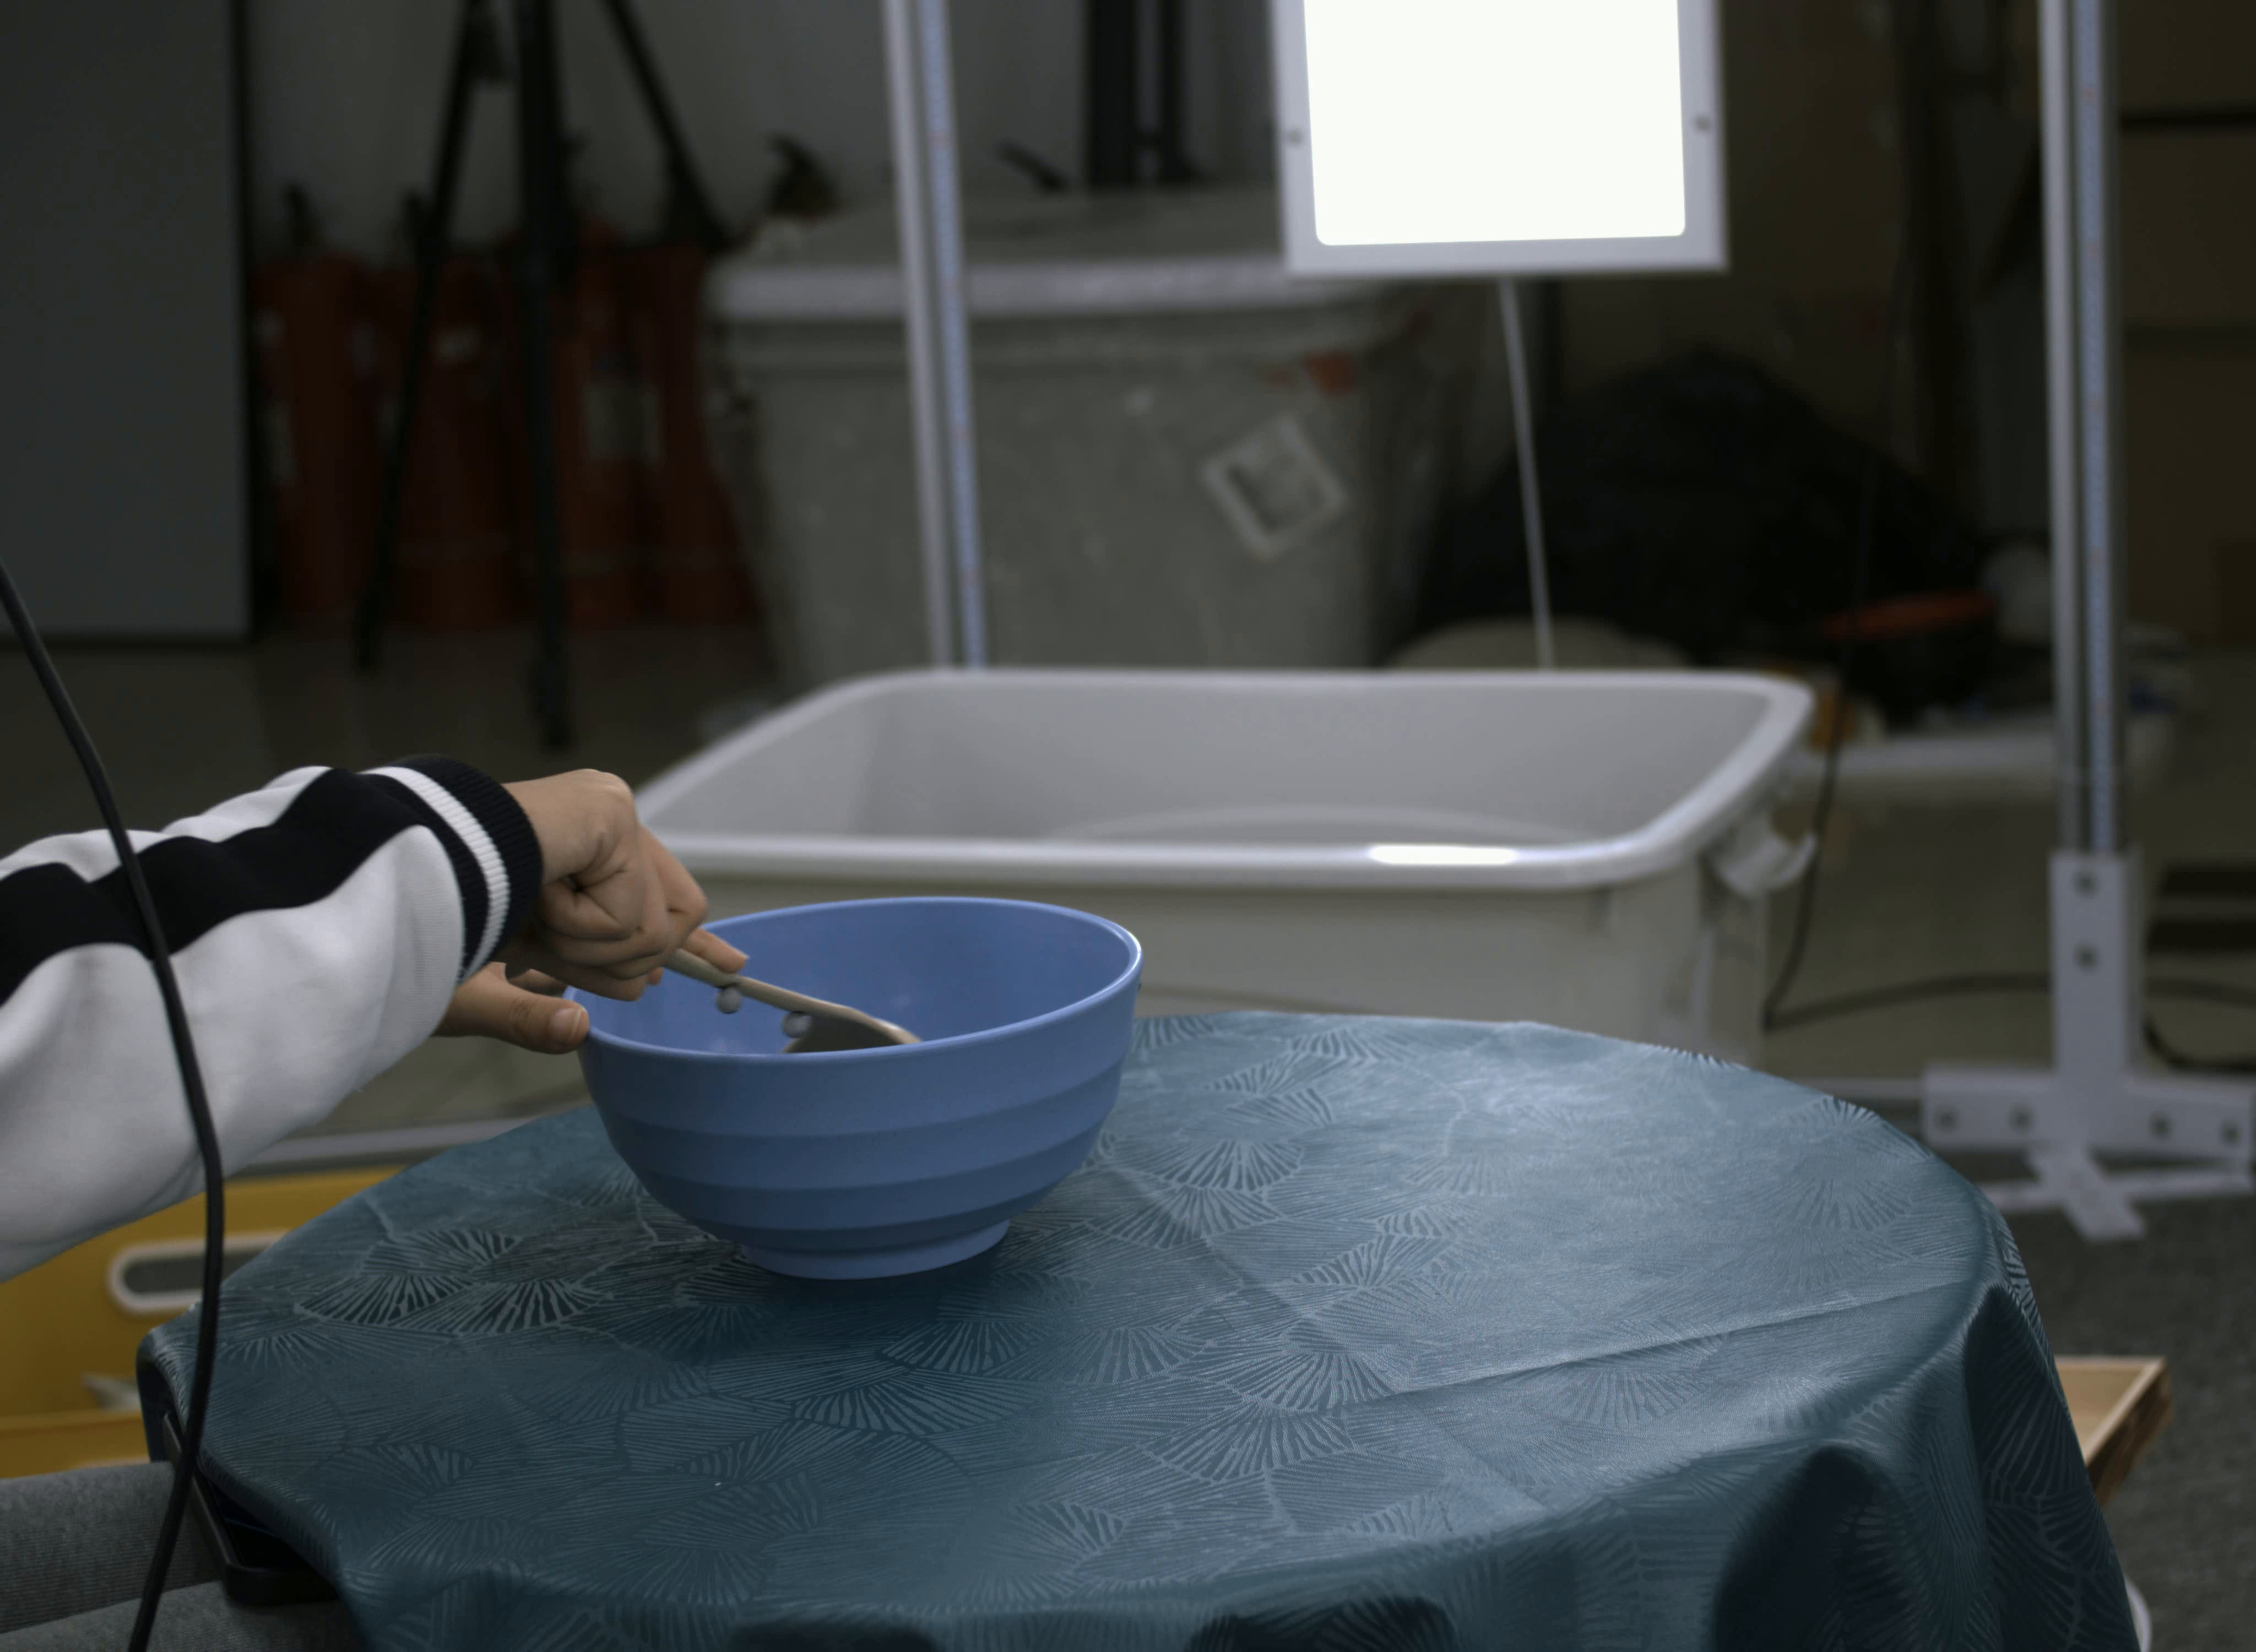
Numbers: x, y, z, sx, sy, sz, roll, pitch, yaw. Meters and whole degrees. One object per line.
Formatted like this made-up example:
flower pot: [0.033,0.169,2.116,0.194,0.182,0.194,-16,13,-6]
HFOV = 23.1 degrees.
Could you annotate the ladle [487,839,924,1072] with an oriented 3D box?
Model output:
ladle: [-0.137,0.074,1.746,0.073,0.073,0.250,7,-13,31]

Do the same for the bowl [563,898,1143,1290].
bowl: [-0.089,0.097,1.864,0.196,0.096,0.196,-5,15,0]
